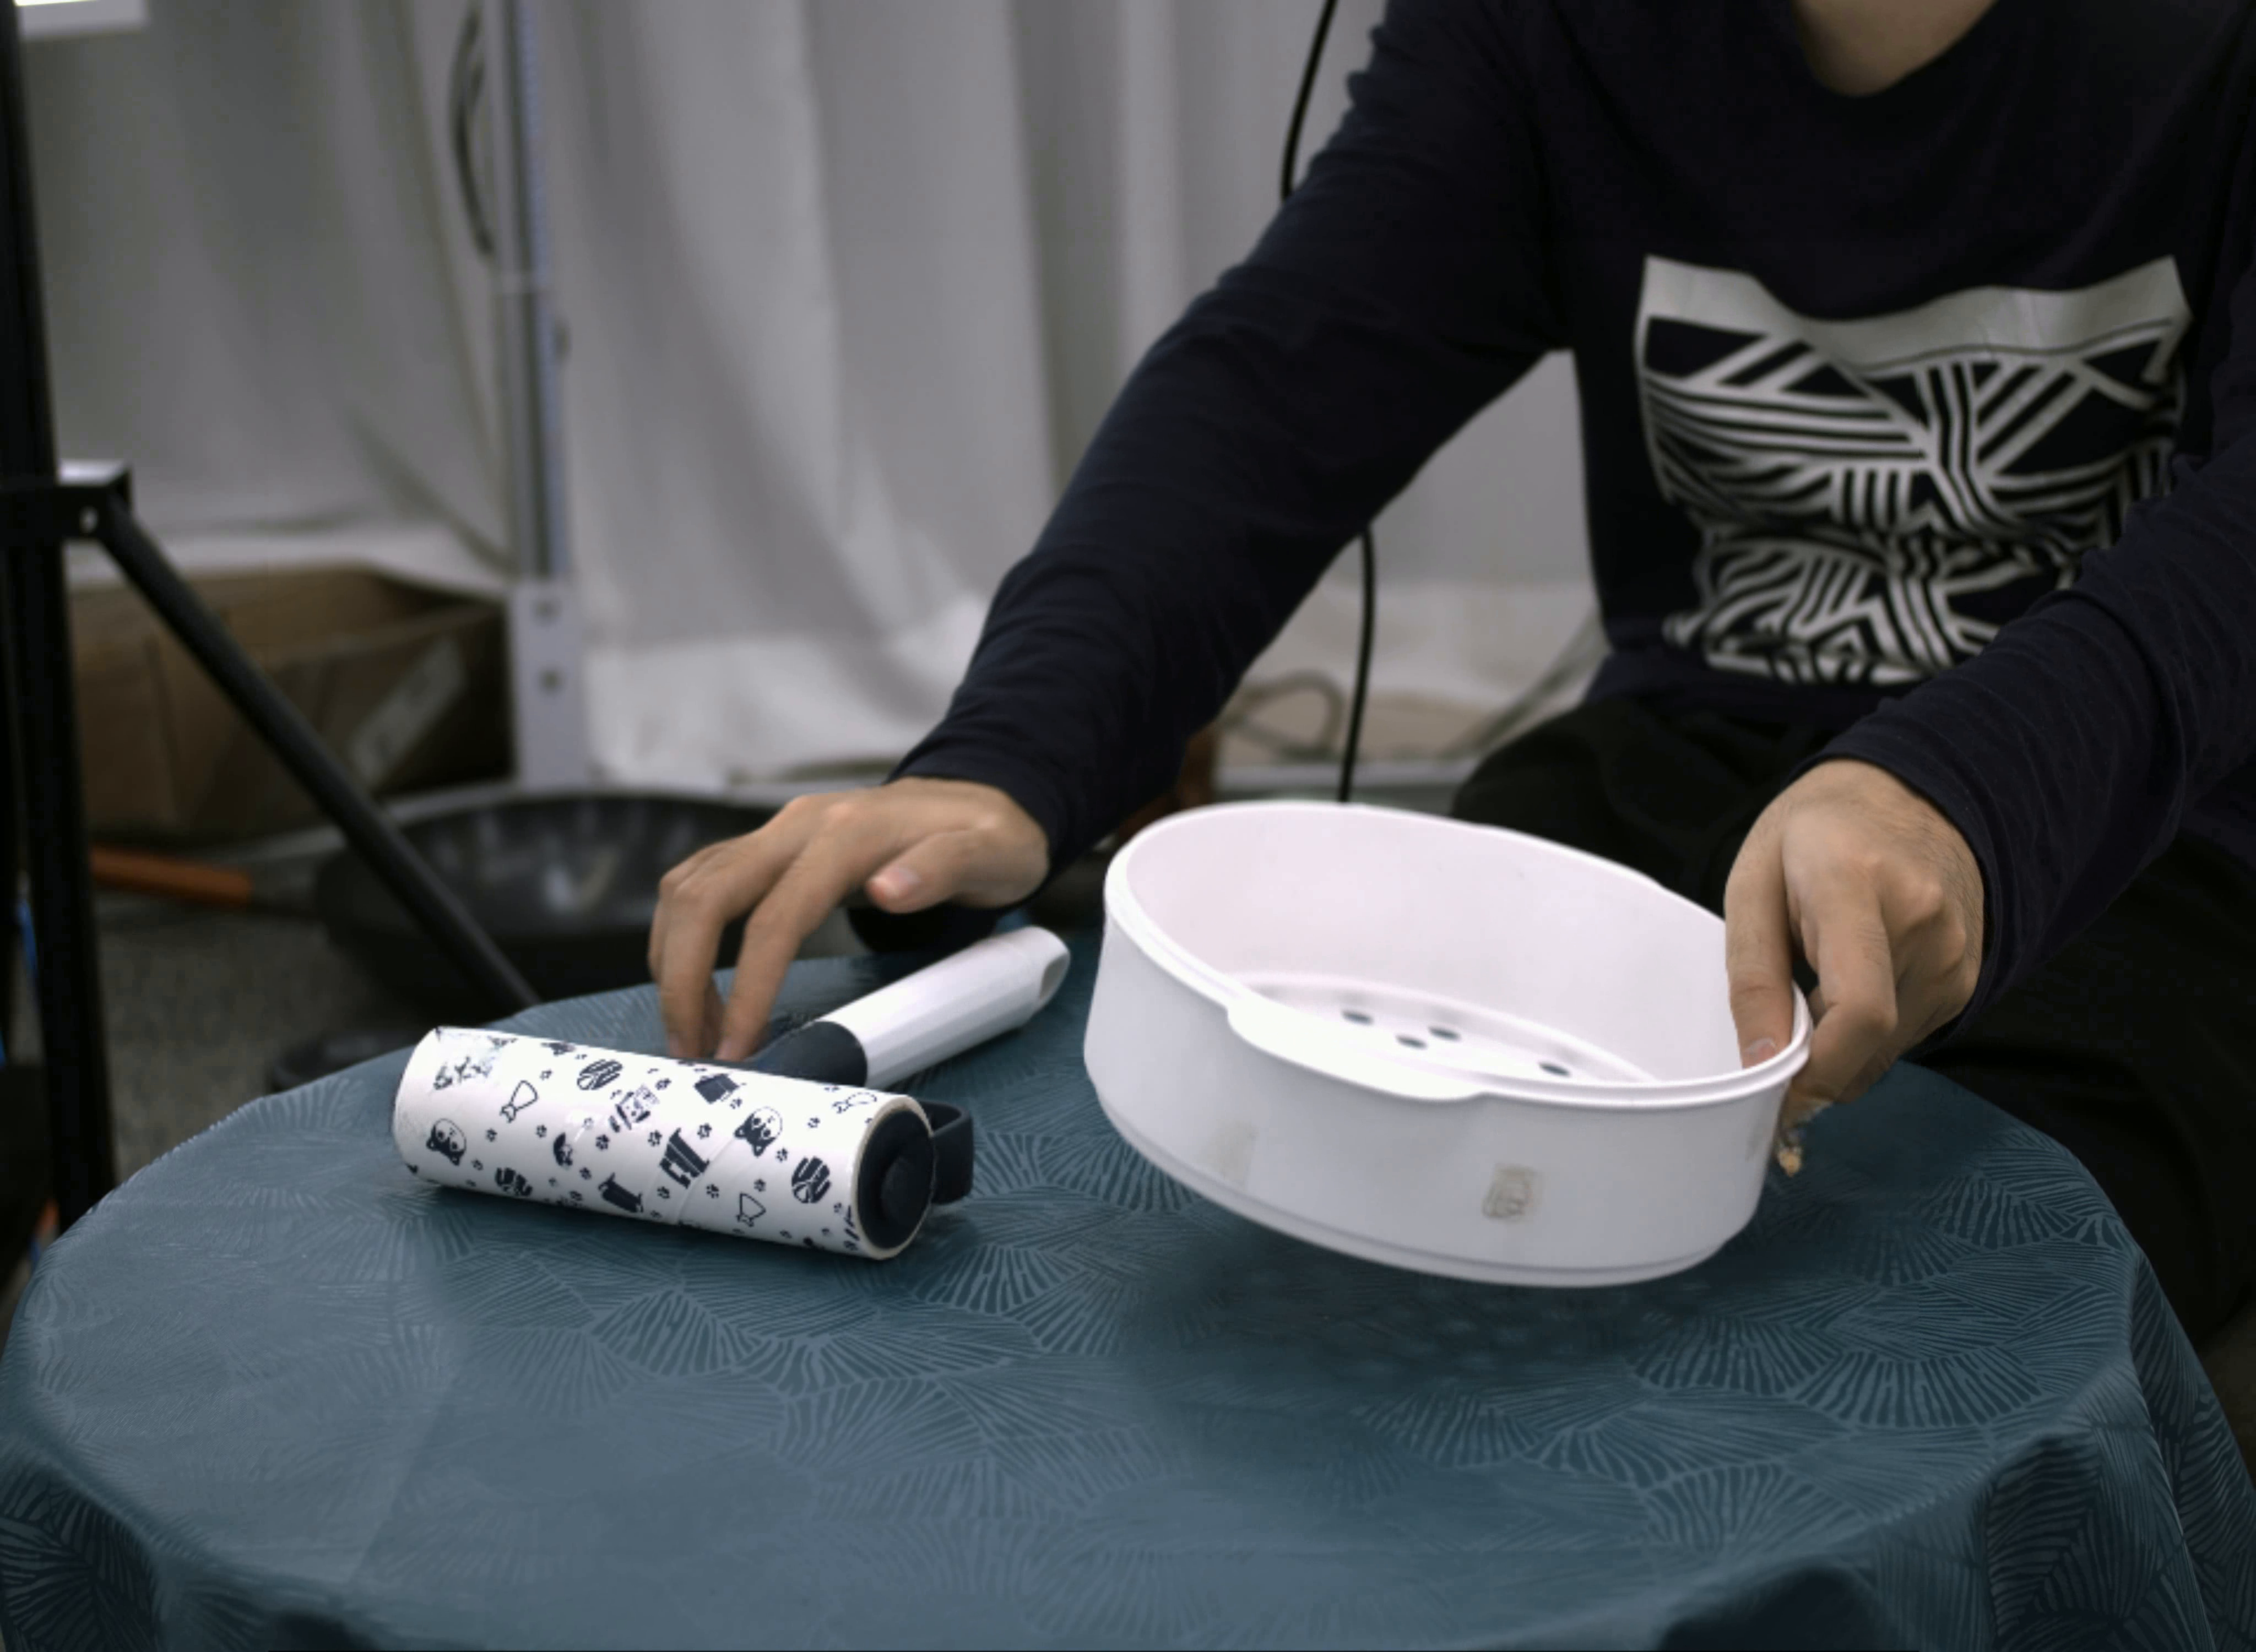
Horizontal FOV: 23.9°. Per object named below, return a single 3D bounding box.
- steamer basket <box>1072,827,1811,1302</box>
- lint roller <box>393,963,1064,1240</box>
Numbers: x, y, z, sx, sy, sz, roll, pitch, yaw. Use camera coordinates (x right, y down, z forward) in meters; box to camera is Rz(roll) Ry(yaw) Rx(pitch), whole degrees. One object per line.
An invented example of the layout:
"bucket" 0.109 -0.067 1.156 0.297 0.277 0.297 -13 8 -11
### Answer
"steamer basket" 0.084 0.067 1.470 0.204 0.069 0.227 18 17 17
"lint roller" -0.088 0.070 1.639 0.179 0.050 0.242 5 14 29
